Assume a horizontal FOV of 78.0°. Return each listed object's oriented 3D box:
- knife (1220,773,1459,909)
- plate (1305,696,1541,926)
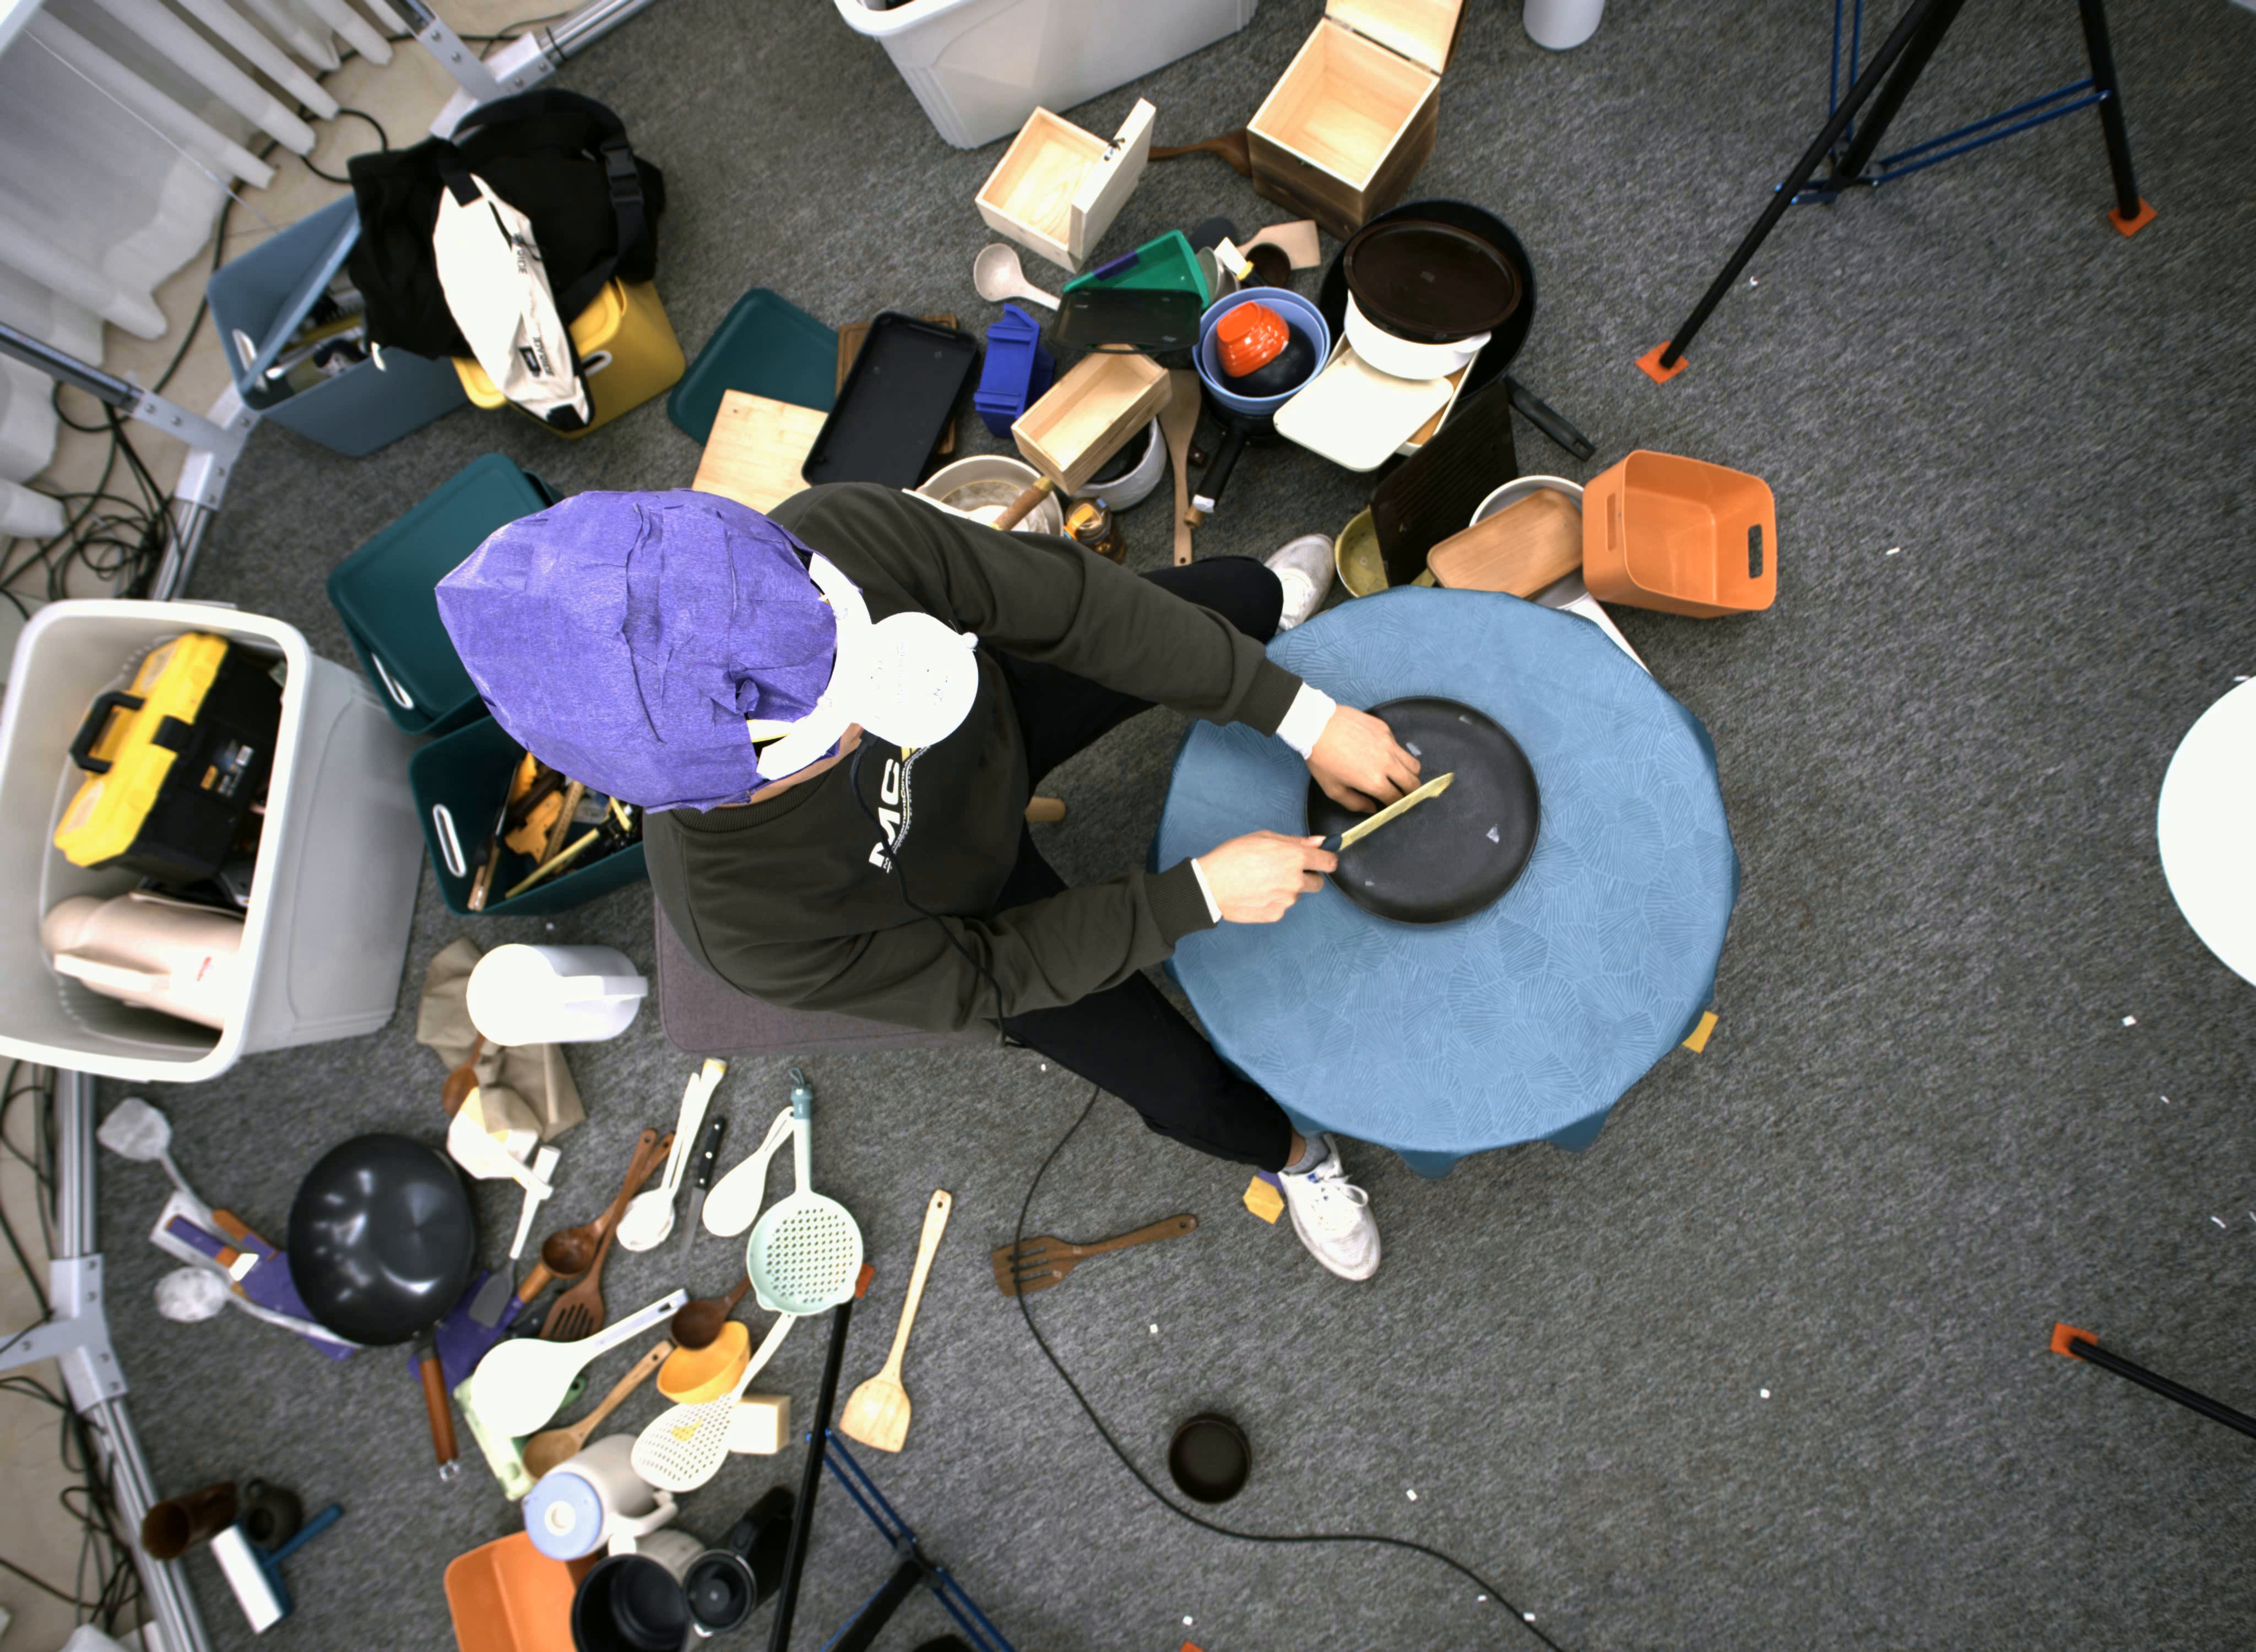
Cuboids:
[{"bbox_3d":[0.217,0.012,1.399,0.288,0.082,0.027,-28,74,-10],"label":"knife"},{"bbox_3d":[0.308,-0.017,1.446,0.245,0.023,0.243,-1,86,11],"label":"plate"}]
